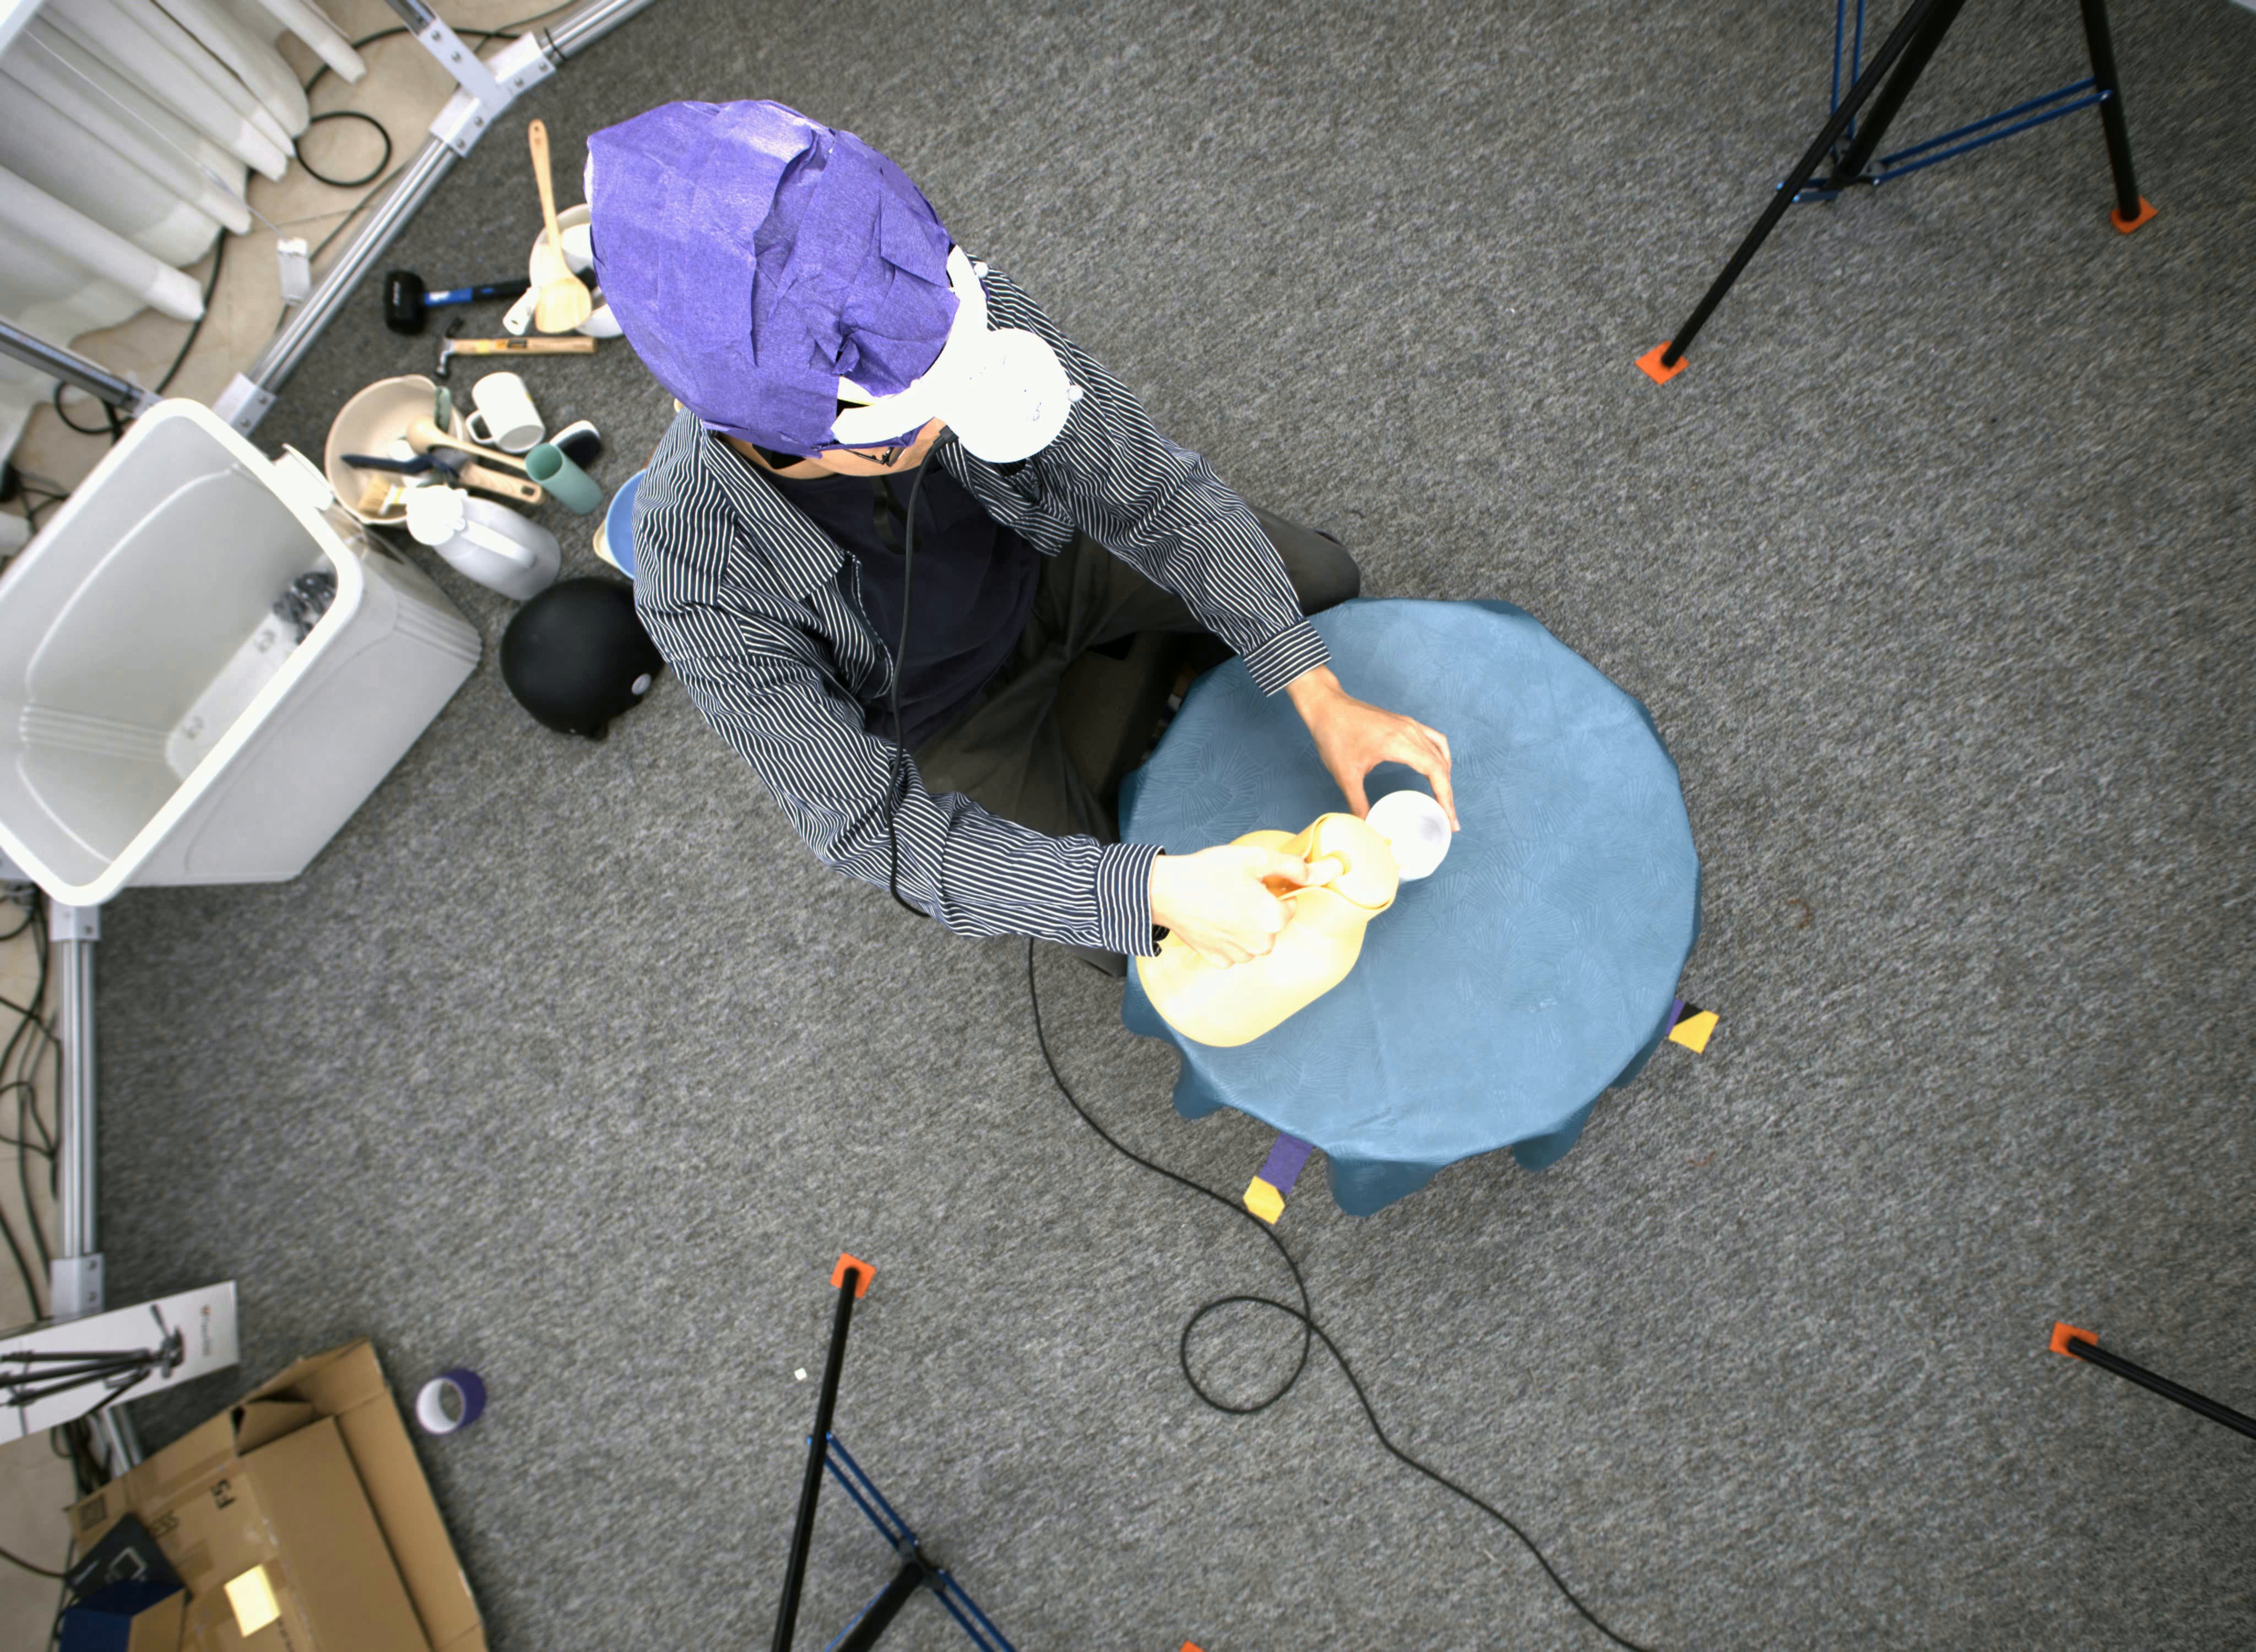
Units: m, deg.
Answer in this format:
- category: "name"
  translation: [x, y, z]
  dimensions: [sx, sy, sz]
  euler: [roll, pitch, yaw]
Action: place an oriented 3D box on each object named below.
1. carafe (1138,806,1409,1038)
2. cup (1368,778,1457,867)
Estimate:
- category: "carafe"
  translation: [0.121, 0.081, 1.252]
  dimensions: [0.266, 0.200, 0.162]
  euler: [-42, 71, 43]
- category: "cup"
  translation: [0.277, 0.000, 1.337]
  dimensions: [0.082, 0.125, 0.081]
  euler: [-1, 85, 13]
